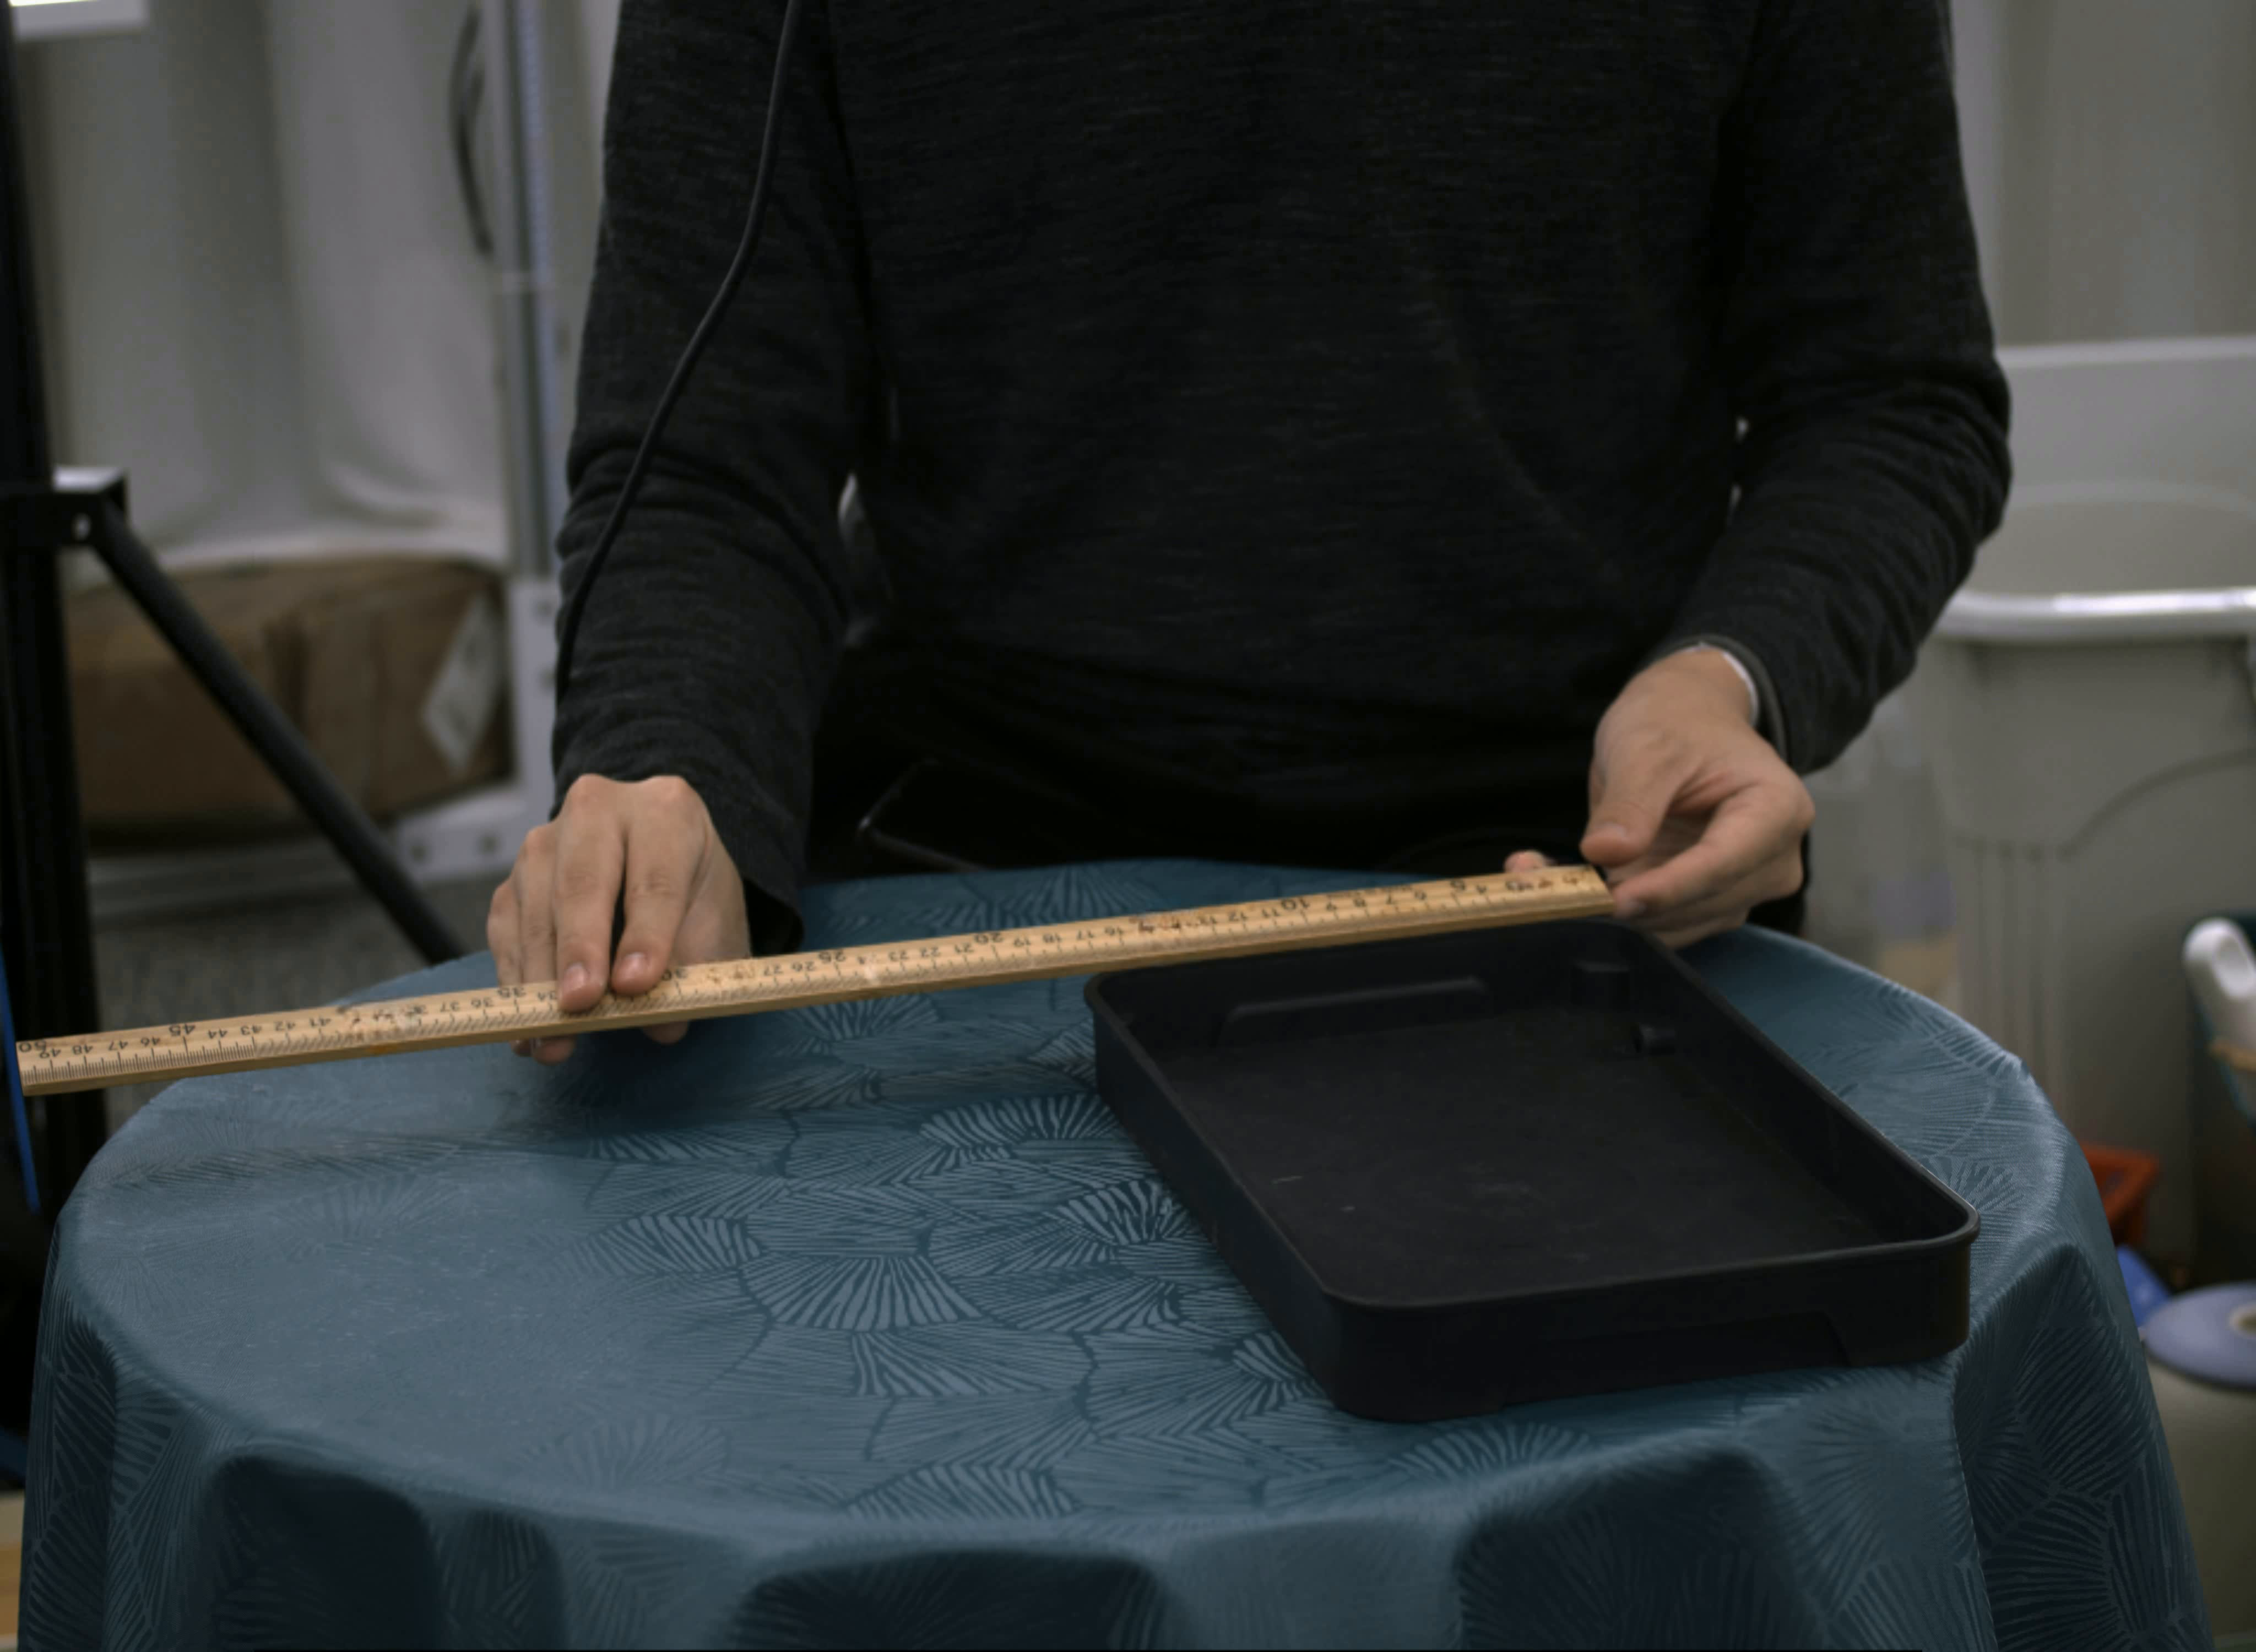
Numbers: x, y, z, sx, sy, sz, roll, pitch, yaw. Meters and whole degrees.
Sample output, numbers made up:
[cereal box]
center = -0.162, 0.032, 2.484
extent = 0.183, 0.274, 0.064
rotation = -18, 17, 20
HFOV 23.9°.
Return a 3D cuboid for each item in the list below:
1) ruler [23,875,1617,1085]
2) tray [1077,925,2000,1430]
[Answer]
[ruler]
center = -0.089, 0.046, 1.648
extent = 0.494, 0.006, 0.027
rotation = -6, 27, -10
[tray]
center = 0.109, 0.095, 1.522
extent = 0.181, 0.037, 0.322
rotation = -6, 15, -13
